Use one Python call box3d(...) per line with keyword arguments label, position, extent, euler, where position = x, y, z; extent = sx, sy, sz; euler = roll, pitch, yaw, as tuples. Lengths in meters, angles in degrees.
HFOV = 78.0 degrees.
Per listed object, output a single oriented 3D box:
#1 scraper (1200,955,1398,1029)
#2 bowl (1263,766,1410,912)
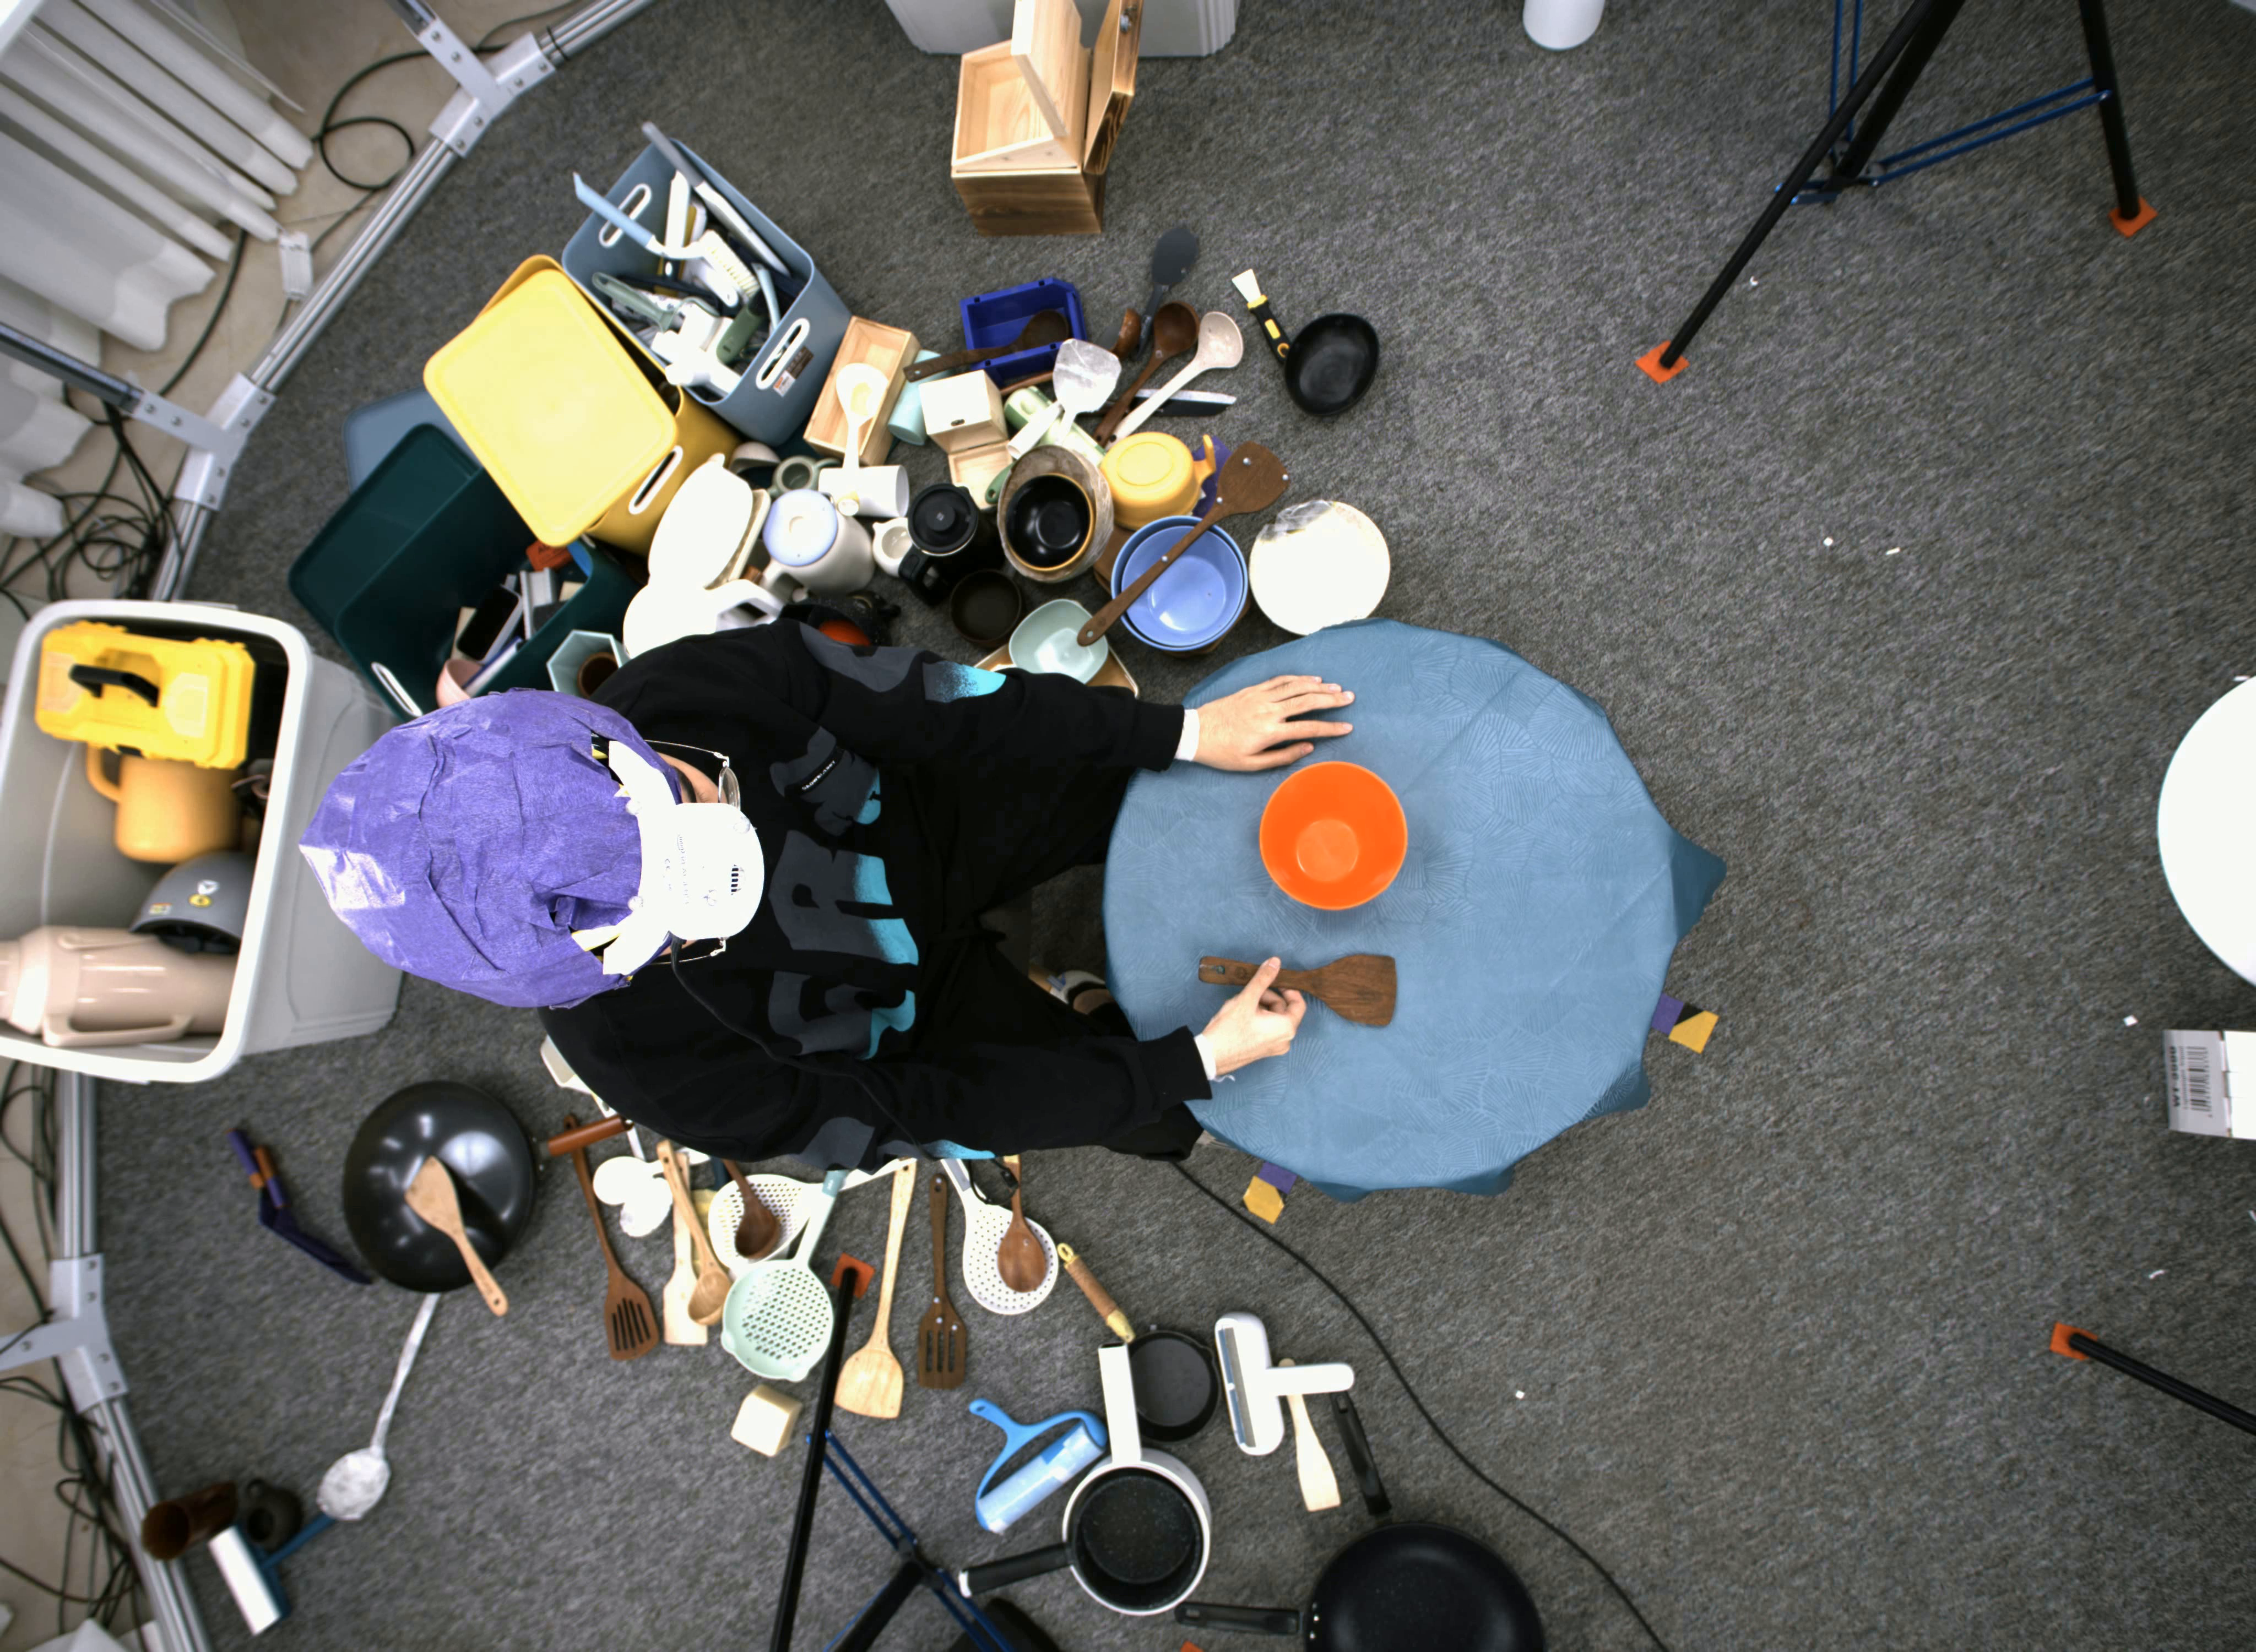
box3d(label="scraper", position=(0.179, 0.162, 1.446), extent=(0.211, 0.011, 0.075), euler=(8, 83, -5))
box3d(label="bowl", position=(0.216, 0.017, 1.428), extent=(0.148, 0.104, 0.147), euler=(-1, 86, 11))
